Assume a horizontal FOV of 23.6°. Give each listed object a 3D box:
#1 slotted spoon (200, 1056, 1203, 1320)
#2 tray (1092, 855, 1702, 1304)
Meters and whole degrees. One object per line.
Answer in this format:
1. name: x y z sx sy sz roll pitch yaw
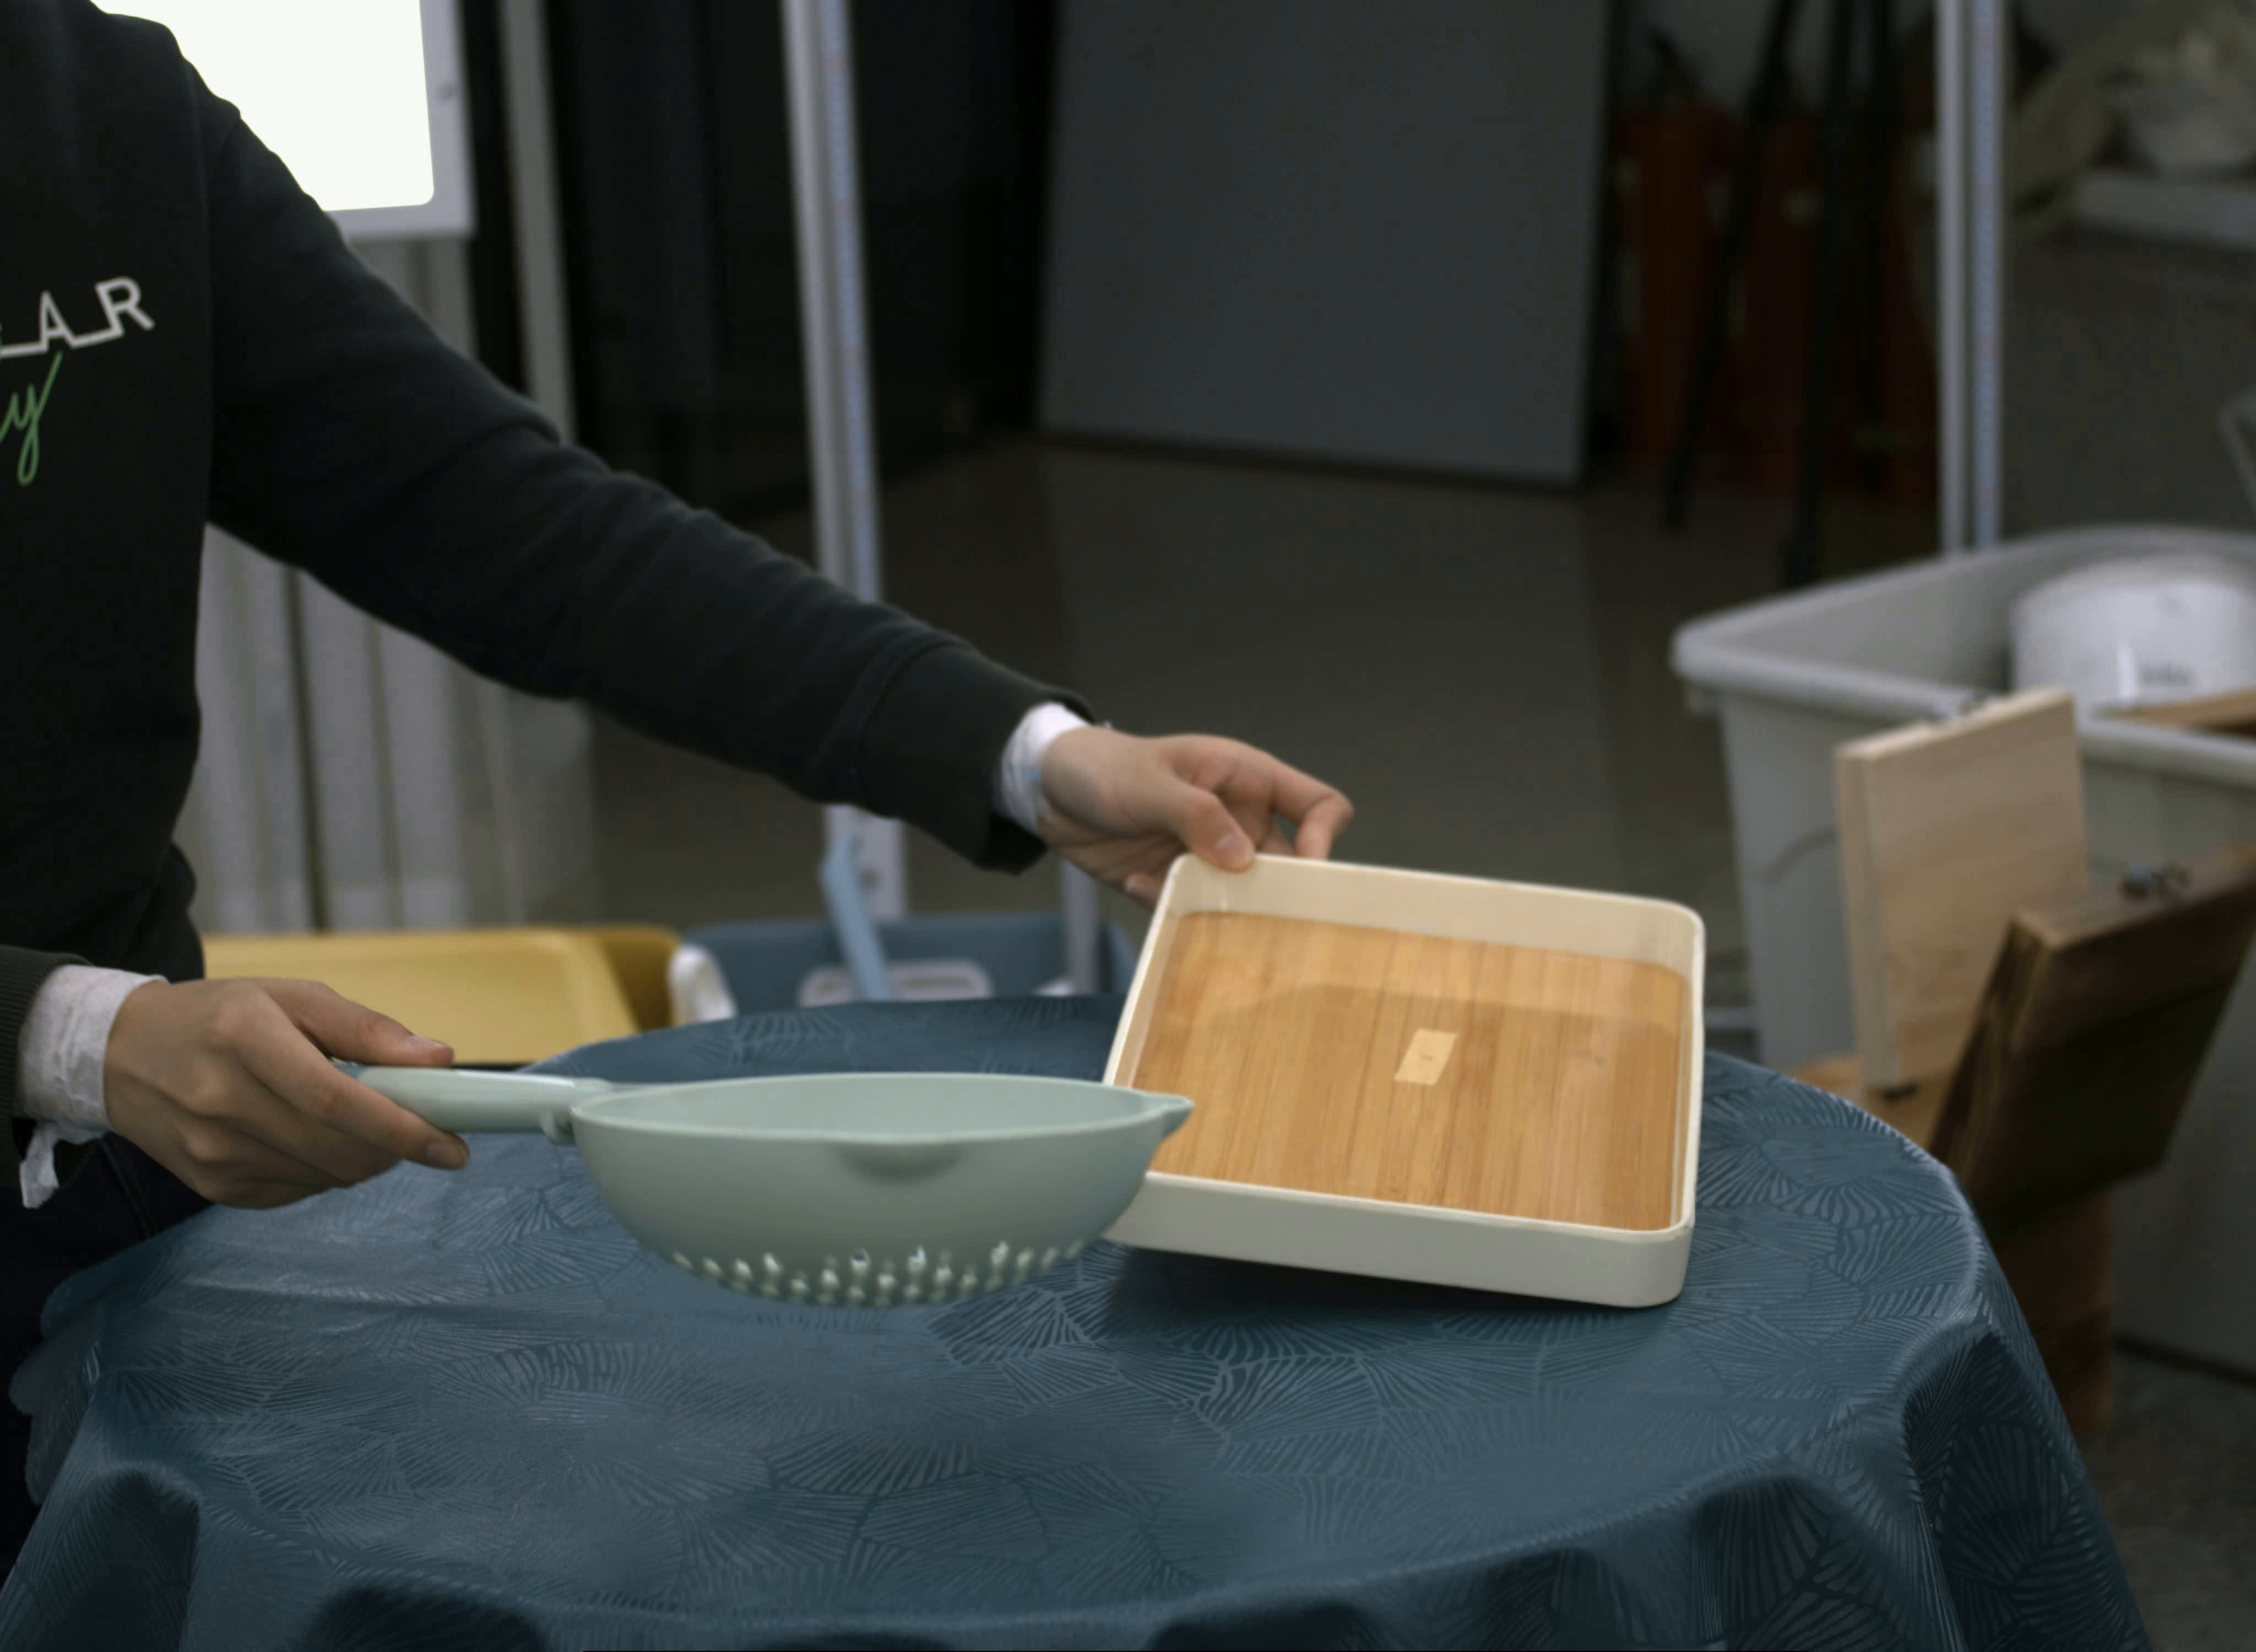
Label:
1. slotted spoon: -0.146 0.090 1.581 0.361 0.076 0.166 12 9 38
2. tray: 0.092 0.078 1.766 0.190 0.028 0.299 7 19 5
